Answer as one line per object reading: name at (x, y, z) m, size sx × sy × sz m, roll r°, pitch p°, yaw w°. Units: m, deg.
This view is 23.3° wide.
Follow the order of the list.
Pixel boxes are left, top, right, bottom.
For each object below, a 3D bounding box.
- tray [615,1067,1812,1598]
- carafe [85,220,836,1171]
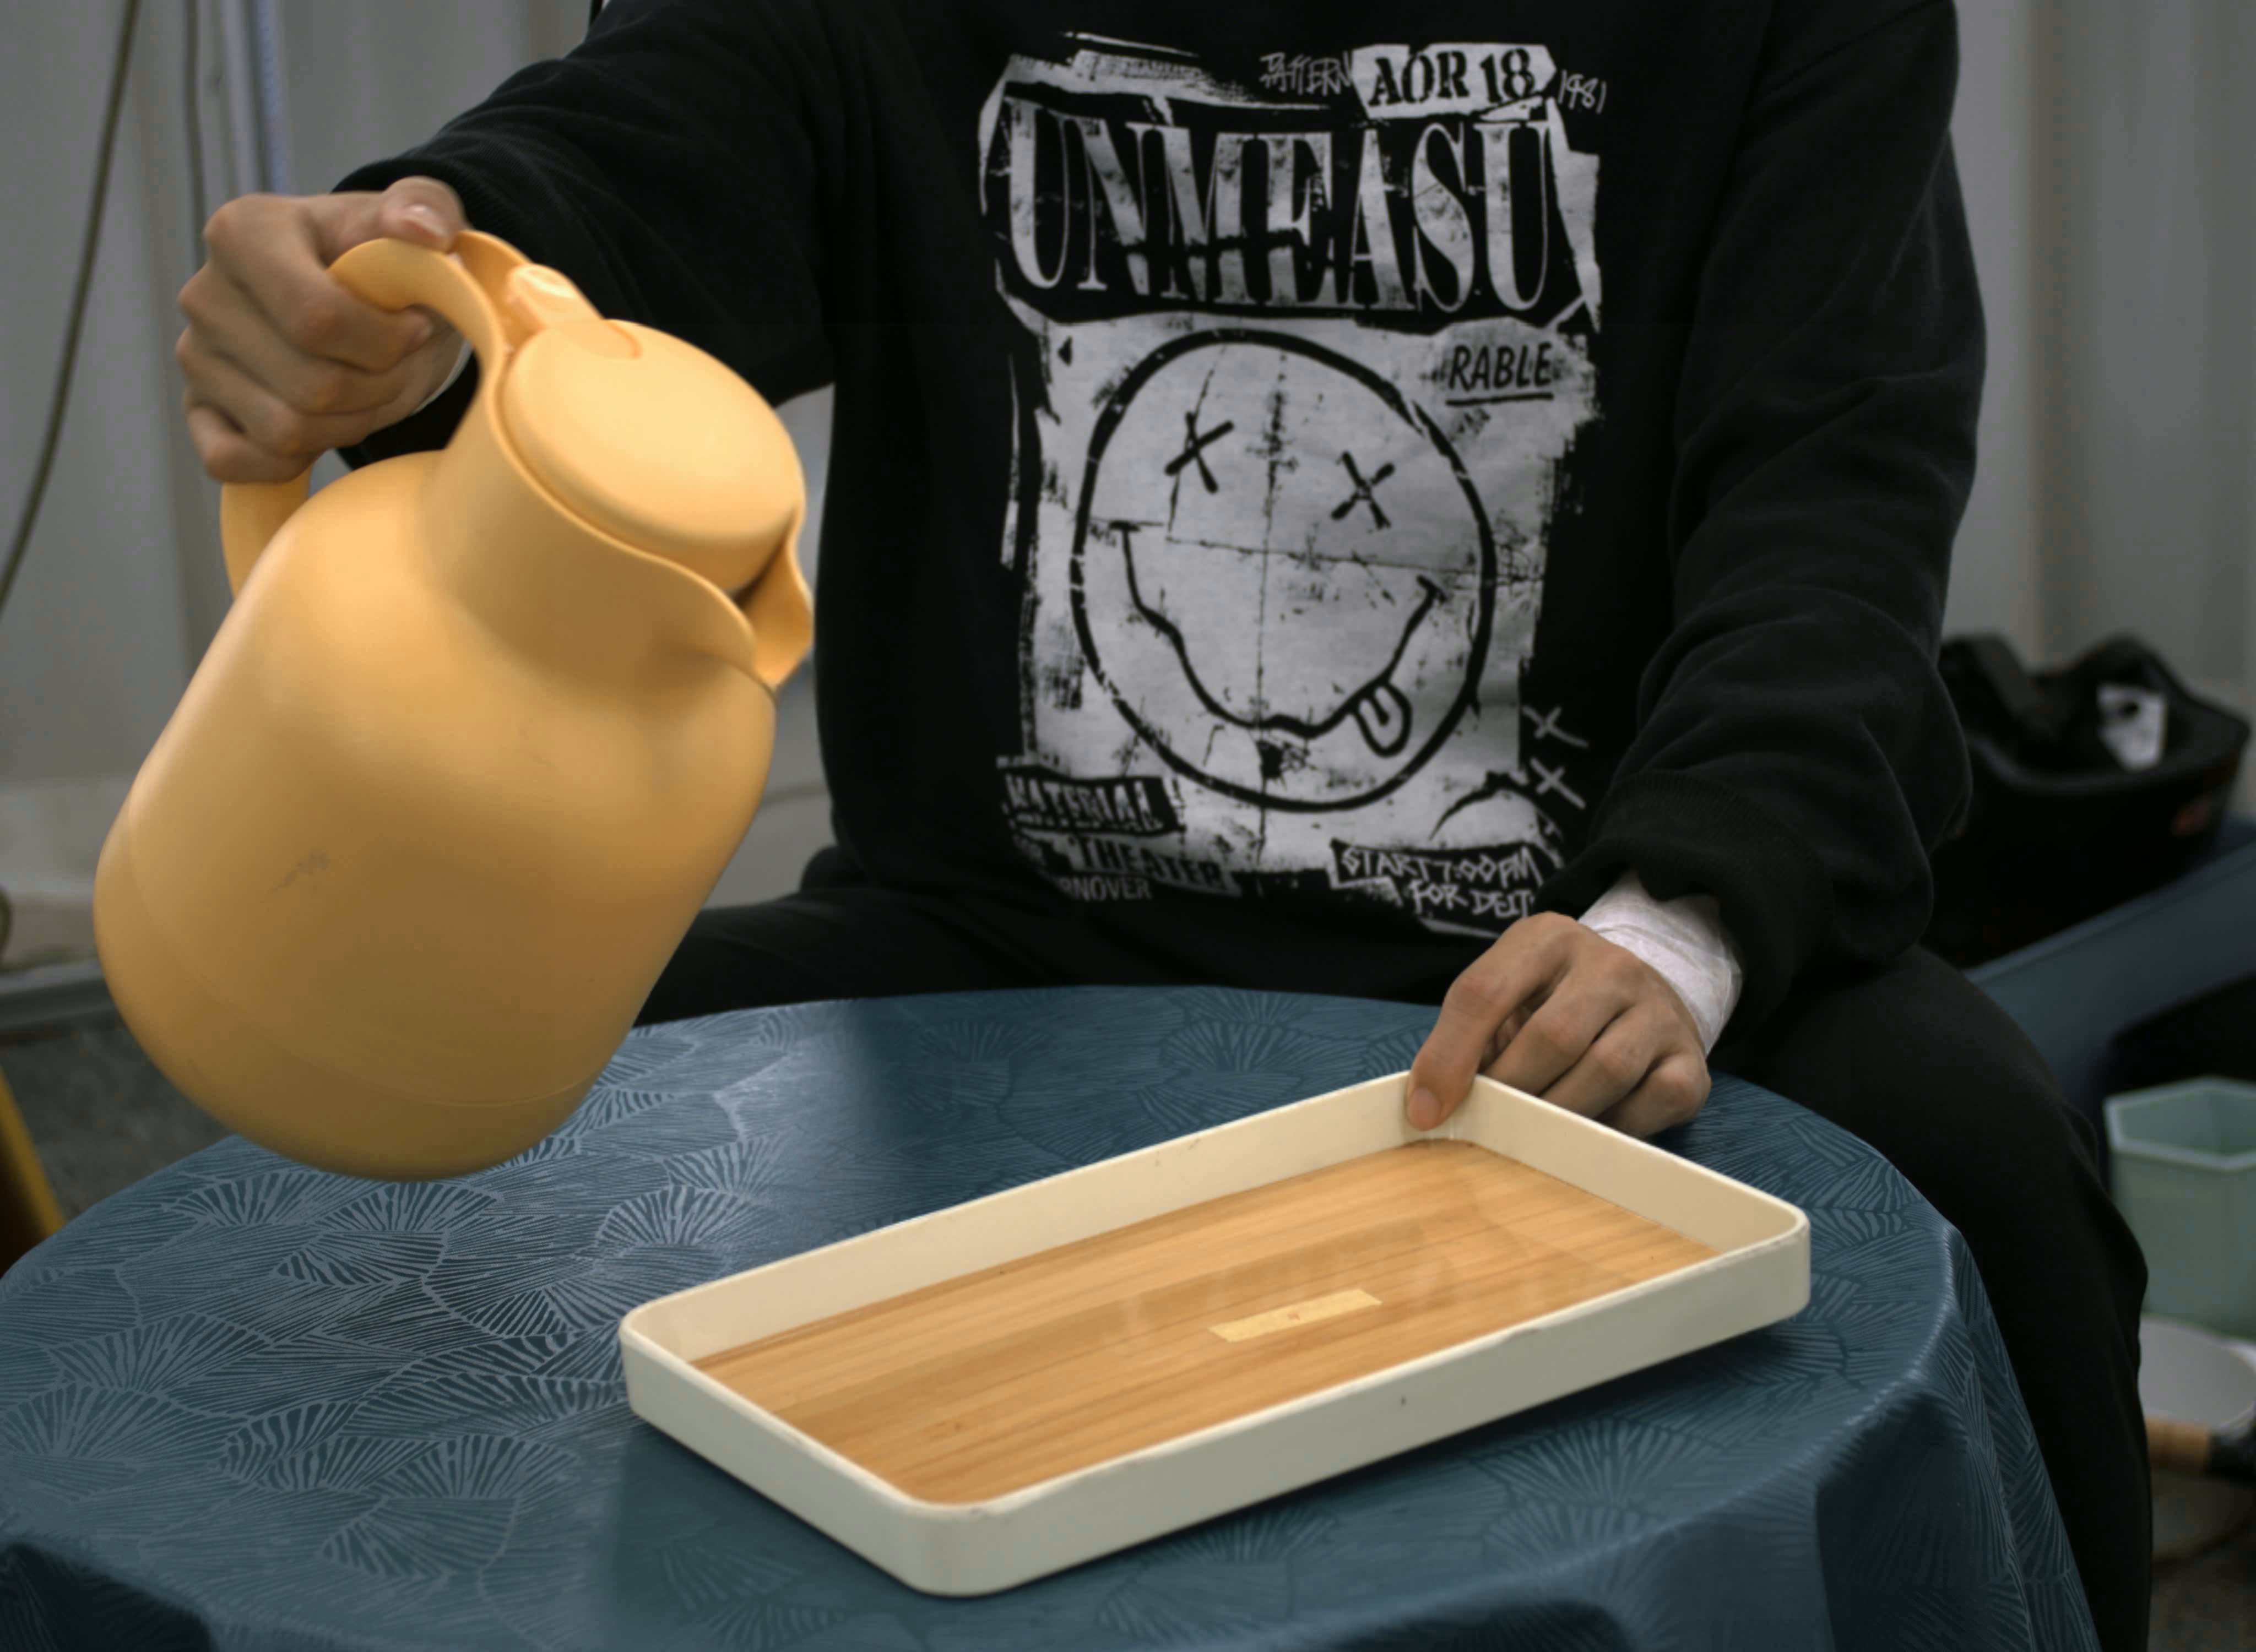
tray at (0.025, 0.137, 1.544) m, size 0.299 × 0.027 × 0.193 m, roll -15°, pitch 20°, yaw -30°
carafe at (-0.194, -0.045, 1.588) m, size 0.163 × 0.258 × 0.204 m, roll -8°, pitch 55°, yaw -49°
